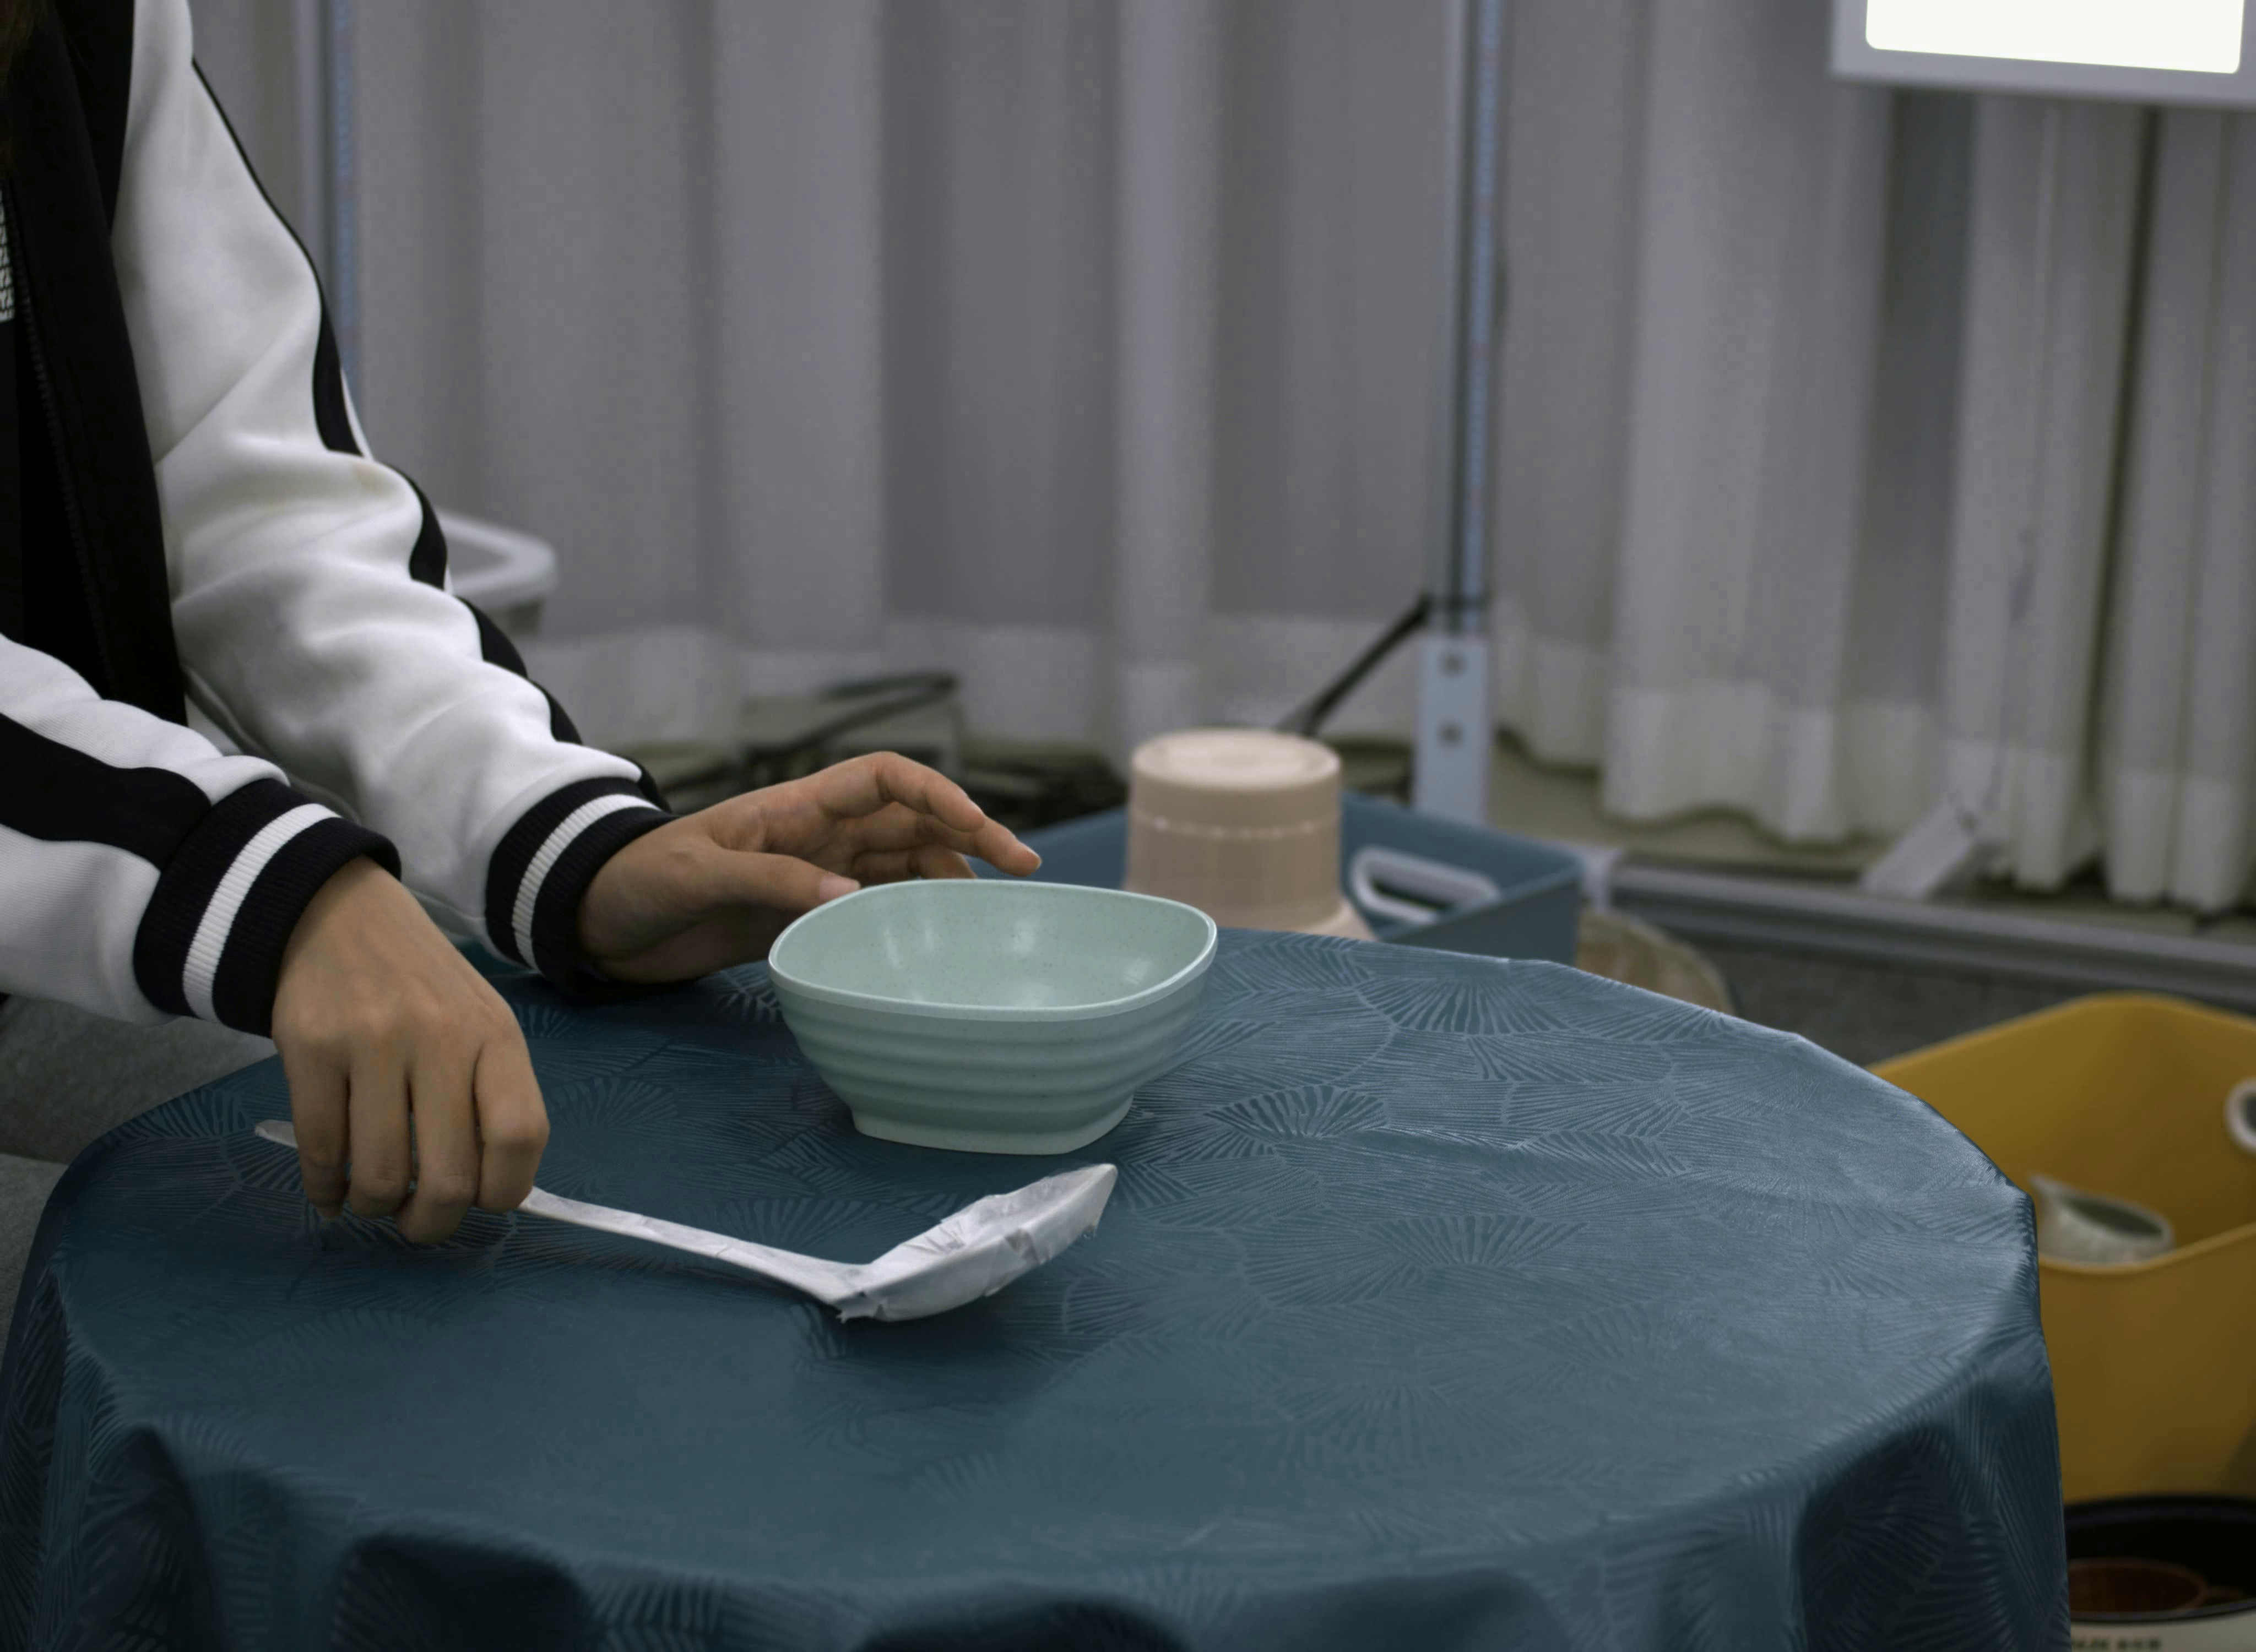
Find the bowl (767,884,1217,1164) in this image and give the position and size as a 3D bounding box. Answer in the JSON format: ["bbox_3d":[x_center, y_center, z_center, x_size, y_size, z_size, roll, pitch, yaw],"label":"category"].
[{"bbox_3d":[-0.043,0.066,1.688,0.151,0.059,0.150,1,16,0],"label":"bowl"}]

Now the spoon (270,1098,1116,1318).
[{"bbox_3d":[-0.132,0.093,1.549,0.274,0.060,0.101,15,14,23],"label":"spoon"}]
